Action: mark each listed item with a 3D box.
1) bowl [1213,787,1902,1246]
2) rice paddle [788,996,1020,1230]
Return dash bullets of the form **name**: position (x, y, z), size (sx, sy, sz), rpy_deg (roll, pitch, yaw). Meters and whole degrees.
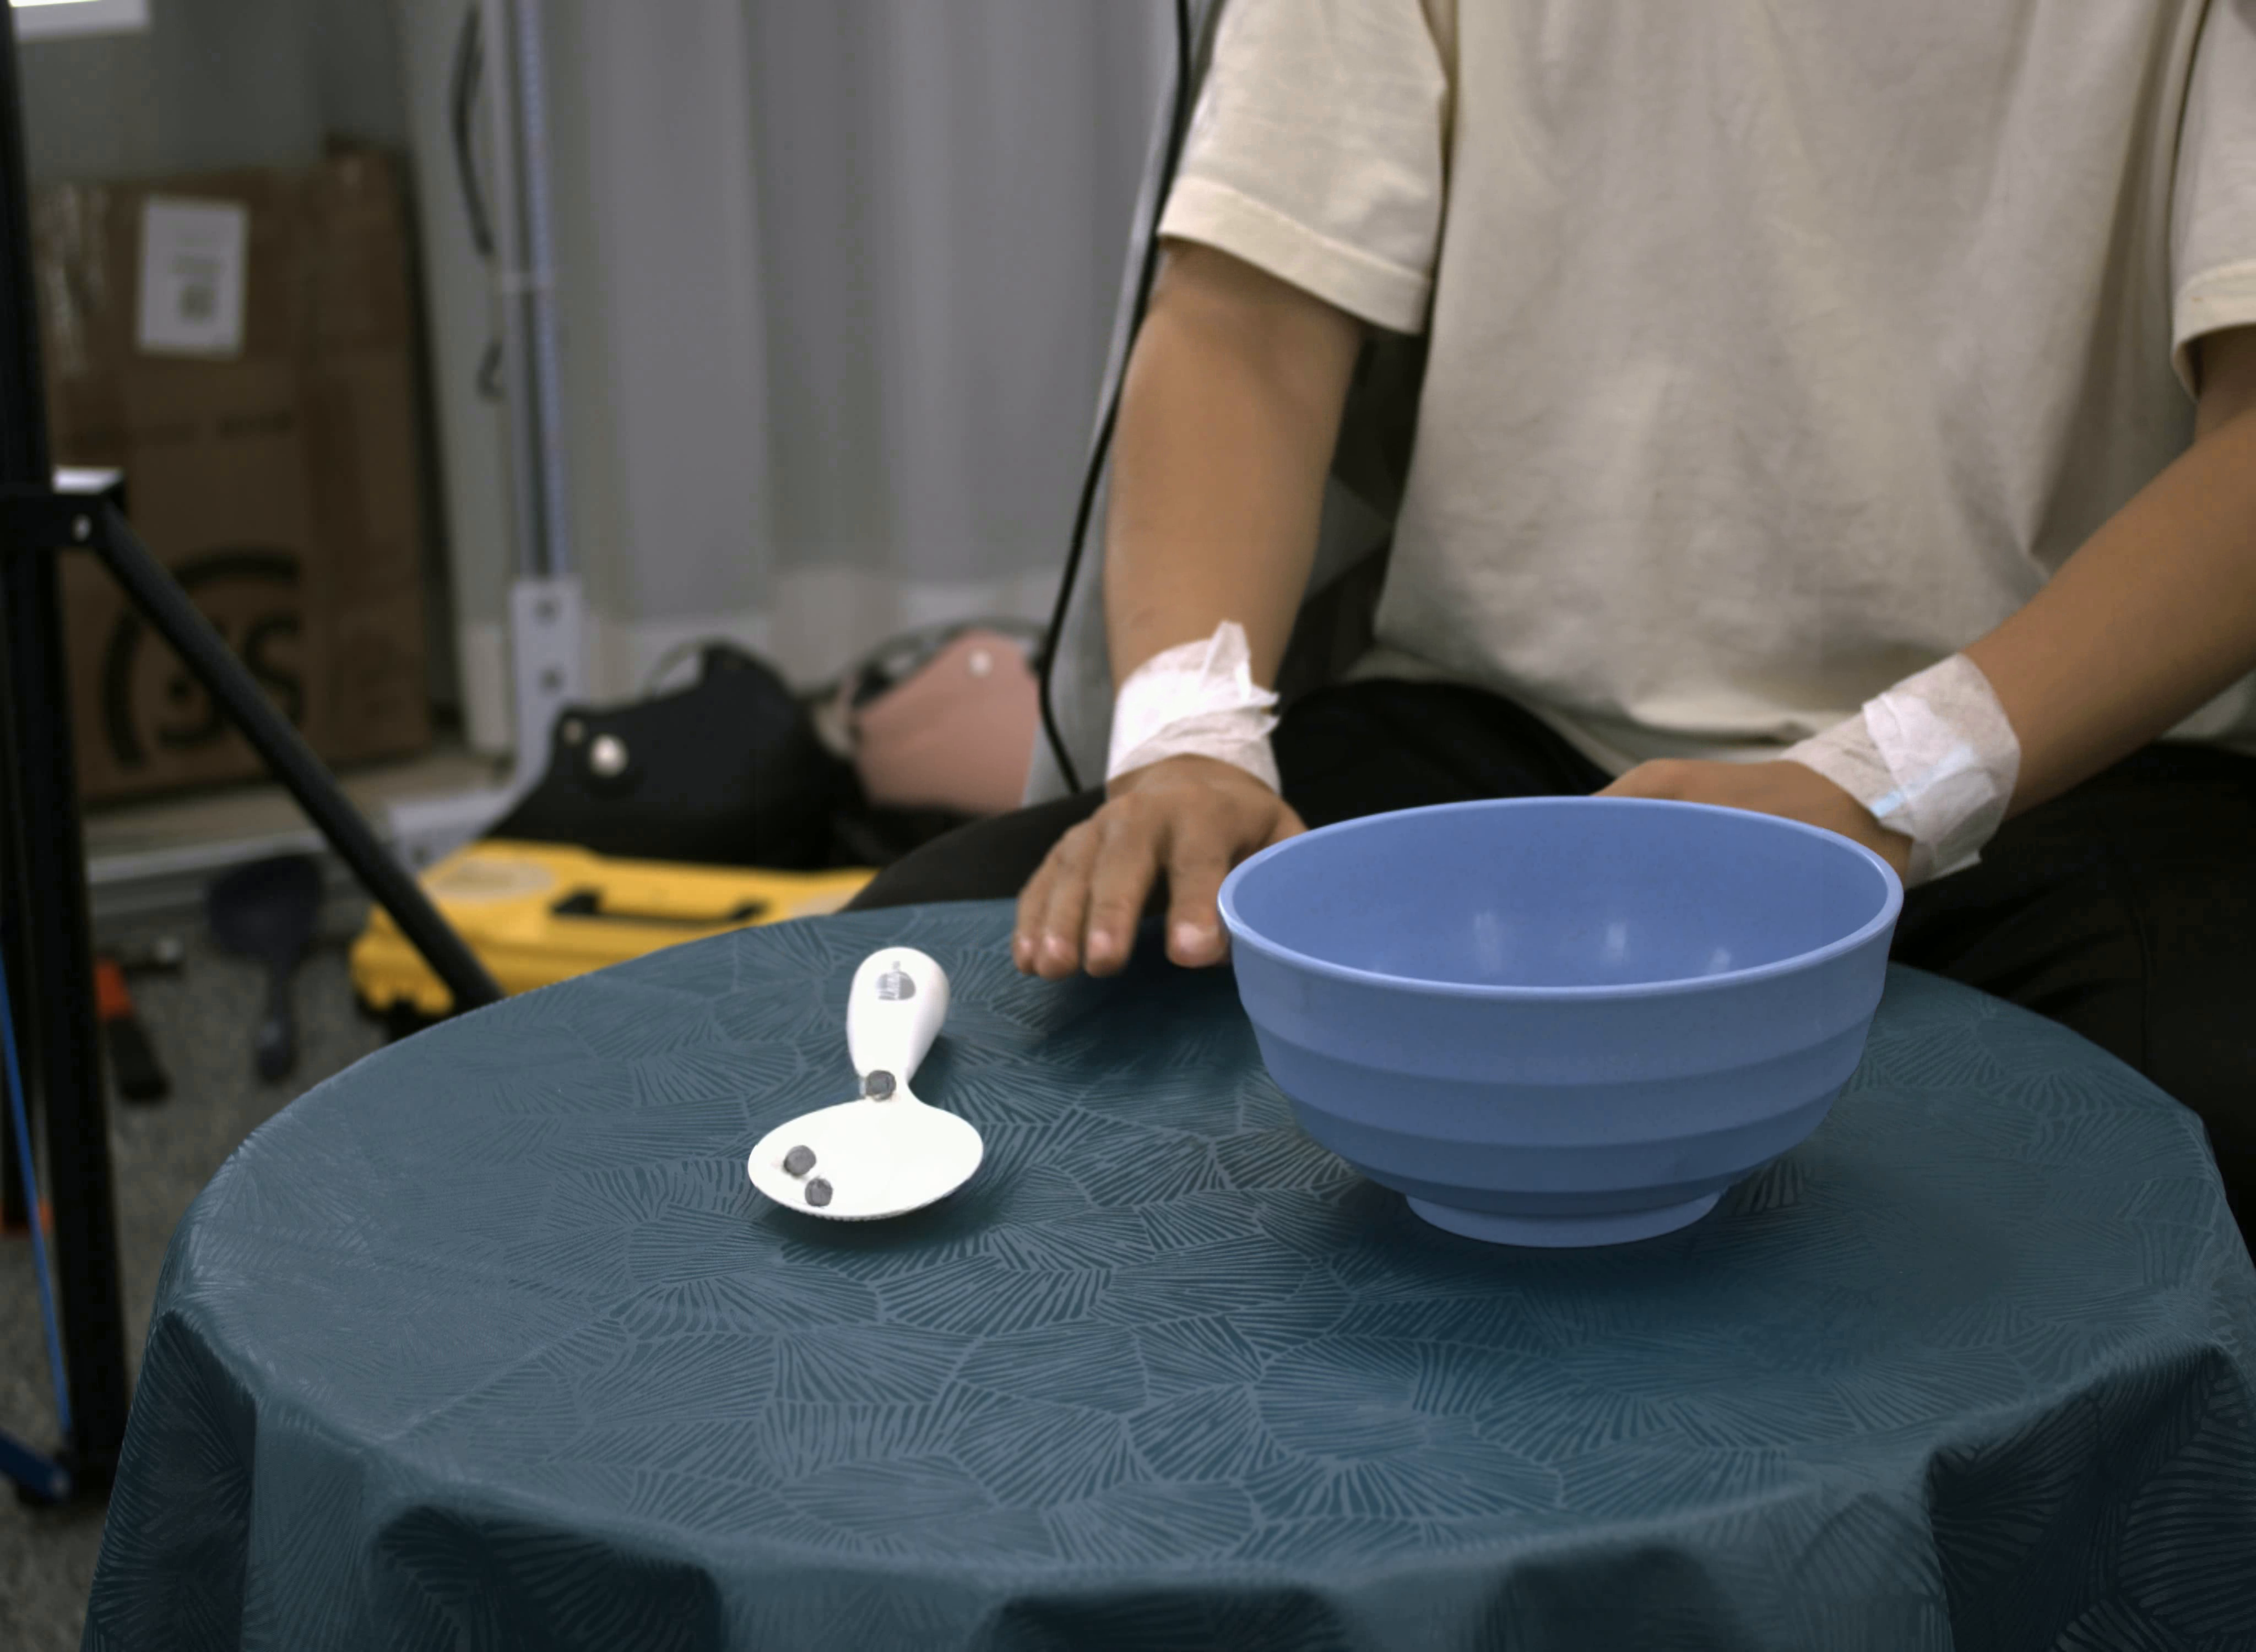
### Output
- **bowl**: position (0.125, 0.061, 1.525), size (0.195, 0.095, 0.197), rpy_deg (-4, 16, 0)
- **rice paddle**: position (-0.074, 0.088, 1.601), size (0.068, 0.029, 0.207), rpy_deg (8, 10, -10)
